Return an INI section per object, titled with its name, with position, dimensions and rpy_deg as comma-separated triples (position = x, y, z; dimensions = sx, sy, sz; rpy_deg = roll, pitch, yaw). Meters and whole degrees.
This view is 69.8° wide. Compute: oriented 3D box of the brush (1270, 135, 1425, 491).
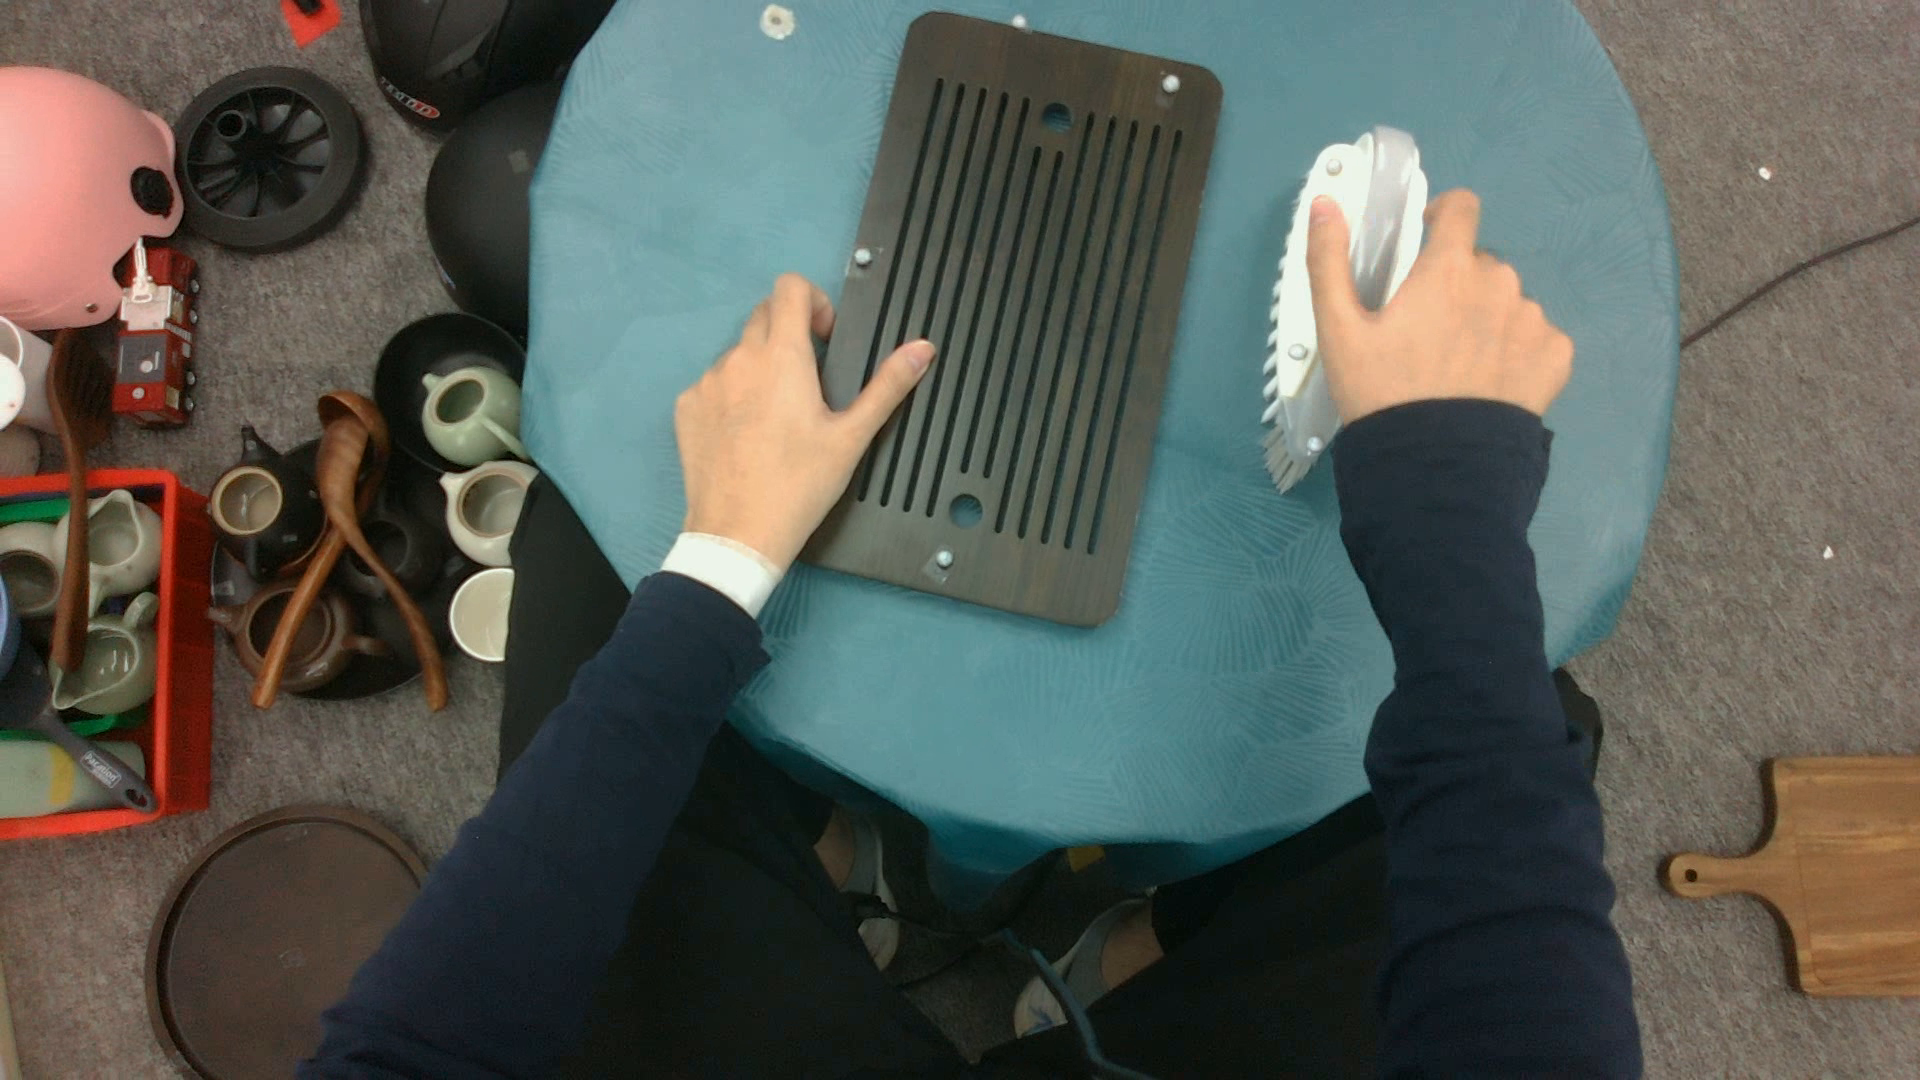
[brush]
position = 0.189, -0.116, 0.681
dimensions = 0.061, 0.094, 0.176
rpy_deg = 15, 80, 4

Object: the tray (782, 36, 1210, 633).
[tray]
position = 0.023, -0.113, 0.718
dimensions = 0.170, 0.018, 0.306
rpy_deg = 12, 78, 3
